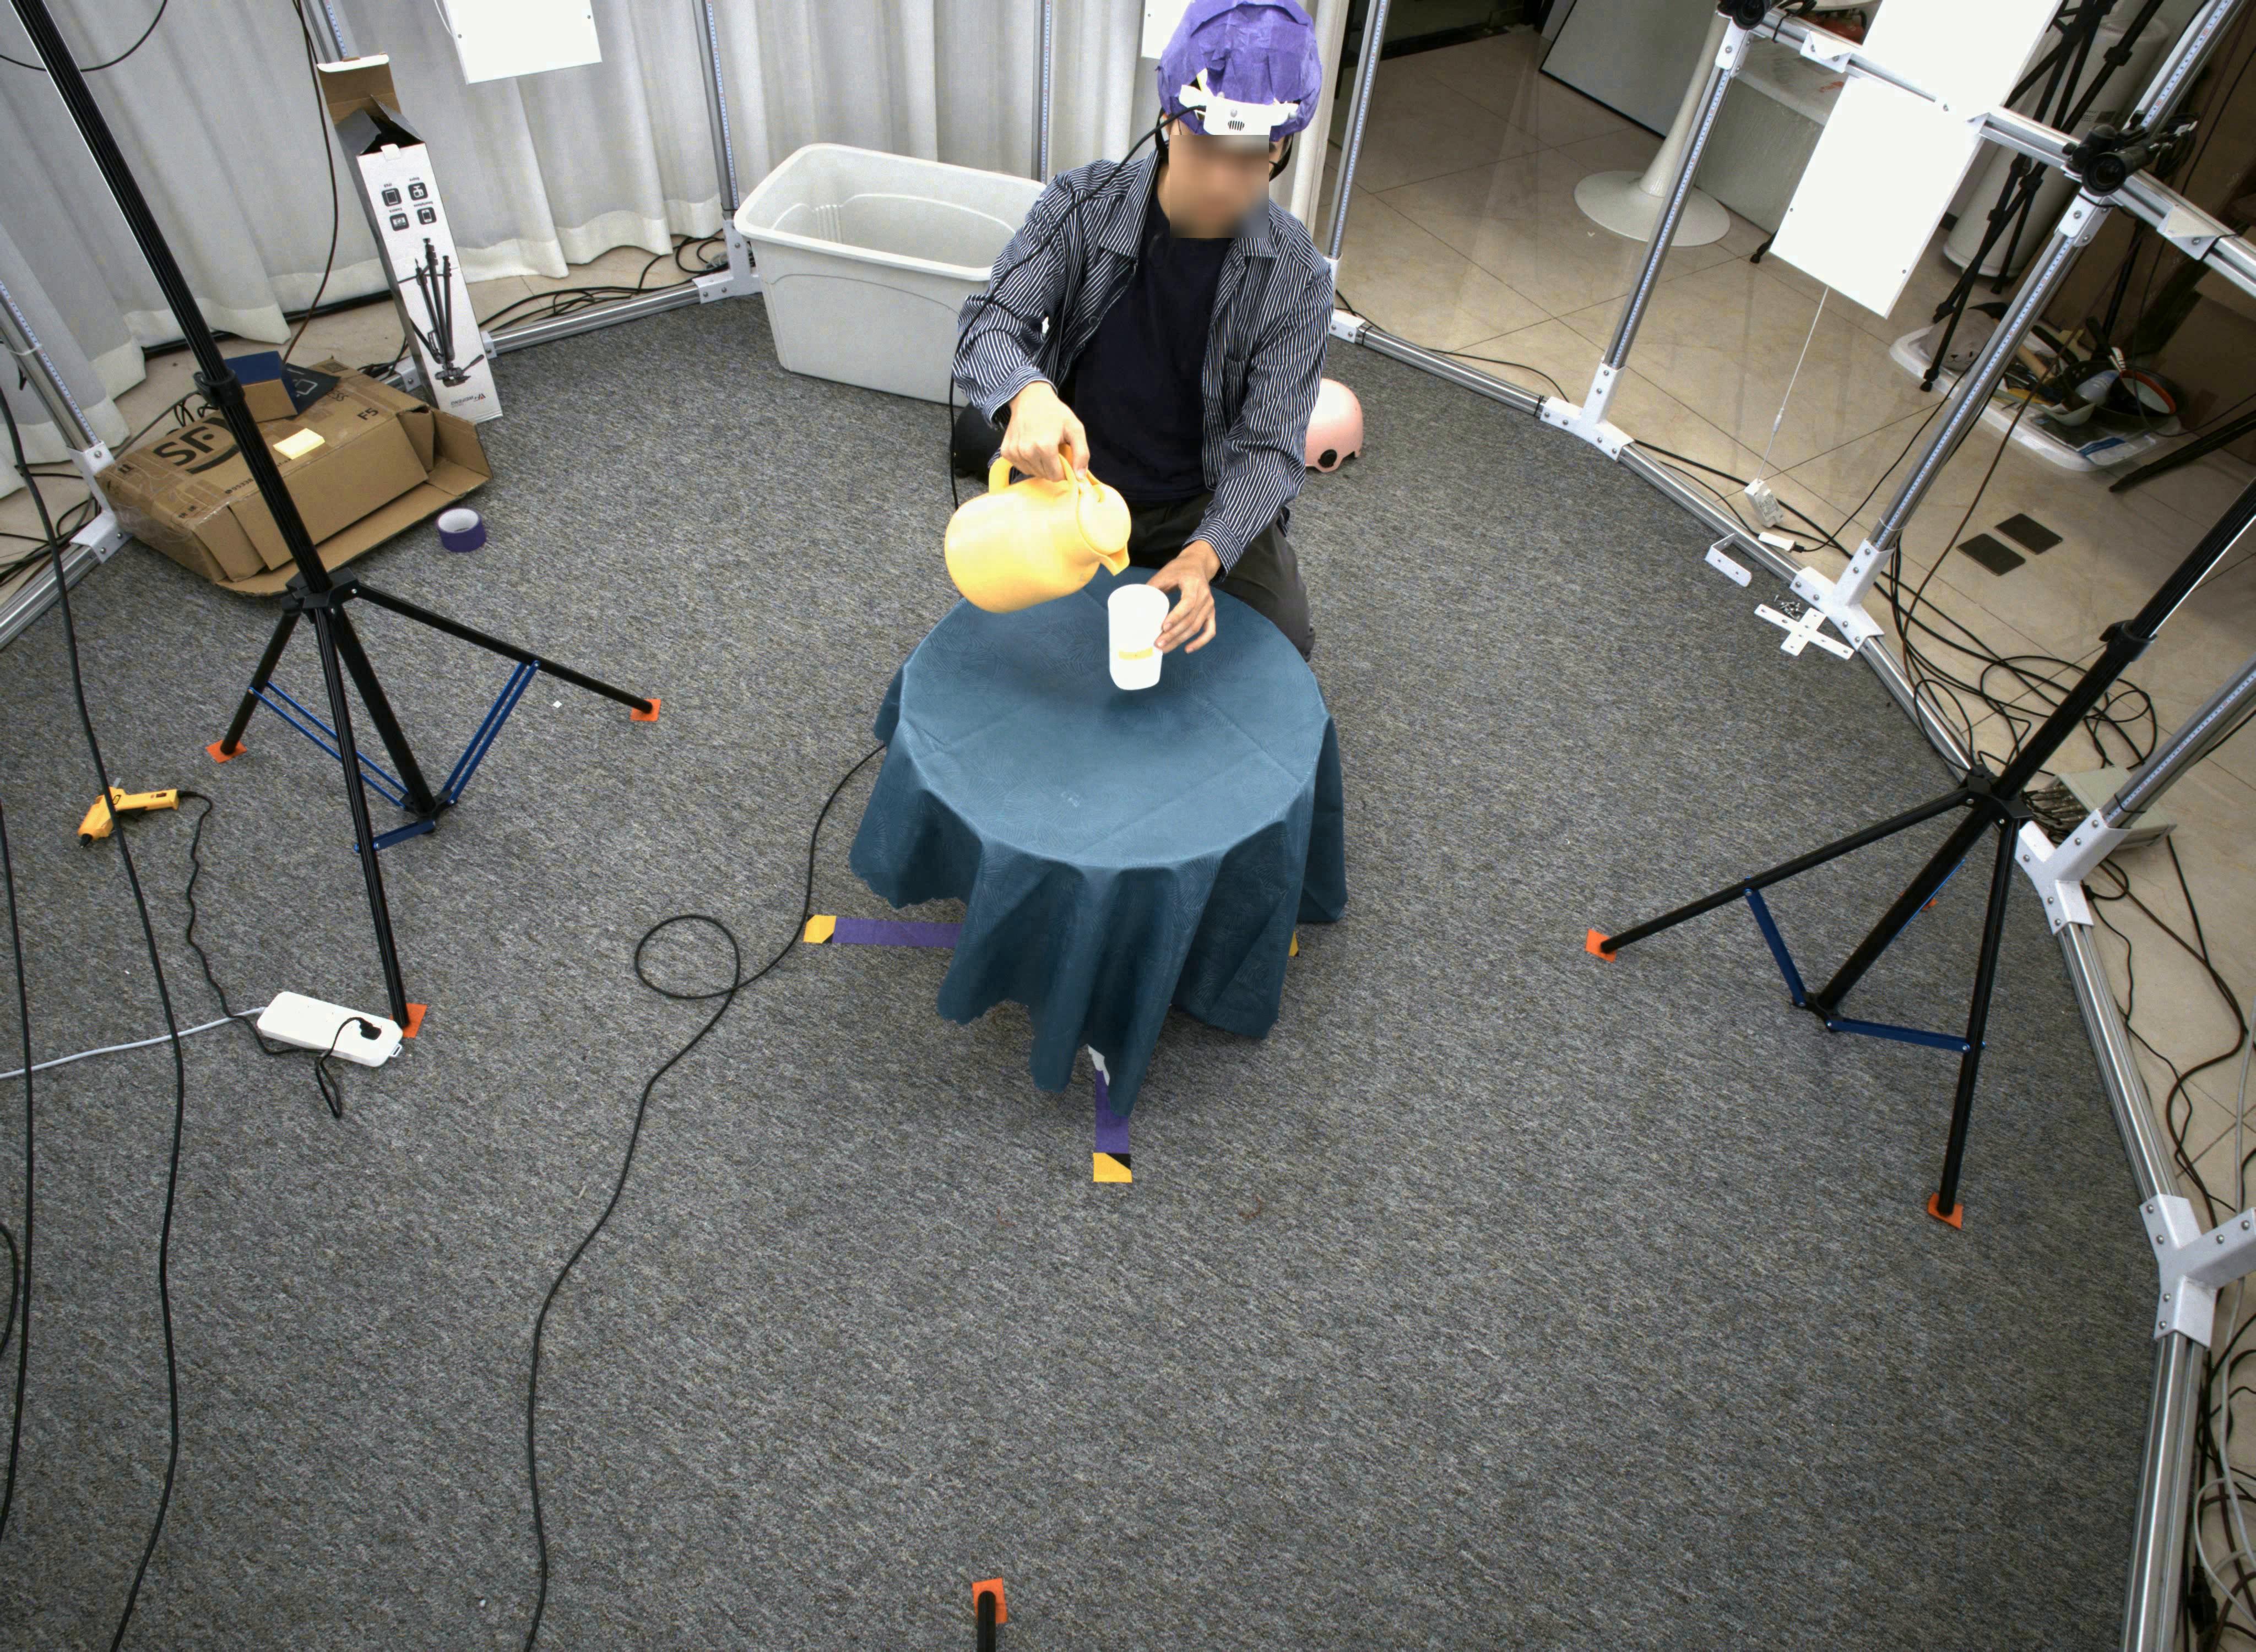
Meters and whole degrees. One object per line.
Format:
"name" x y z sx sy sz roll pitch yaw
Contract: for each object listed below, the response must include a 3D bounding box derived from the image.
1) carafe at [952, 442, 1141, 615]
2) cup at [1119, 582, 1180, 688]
"carafe" -0.110 -0.395 1.710 0.261 0.199 0.166 -6 28 42
"cup" 0.026 -0.255 1.739 0.081 0.122 0.084 2 46 -2
